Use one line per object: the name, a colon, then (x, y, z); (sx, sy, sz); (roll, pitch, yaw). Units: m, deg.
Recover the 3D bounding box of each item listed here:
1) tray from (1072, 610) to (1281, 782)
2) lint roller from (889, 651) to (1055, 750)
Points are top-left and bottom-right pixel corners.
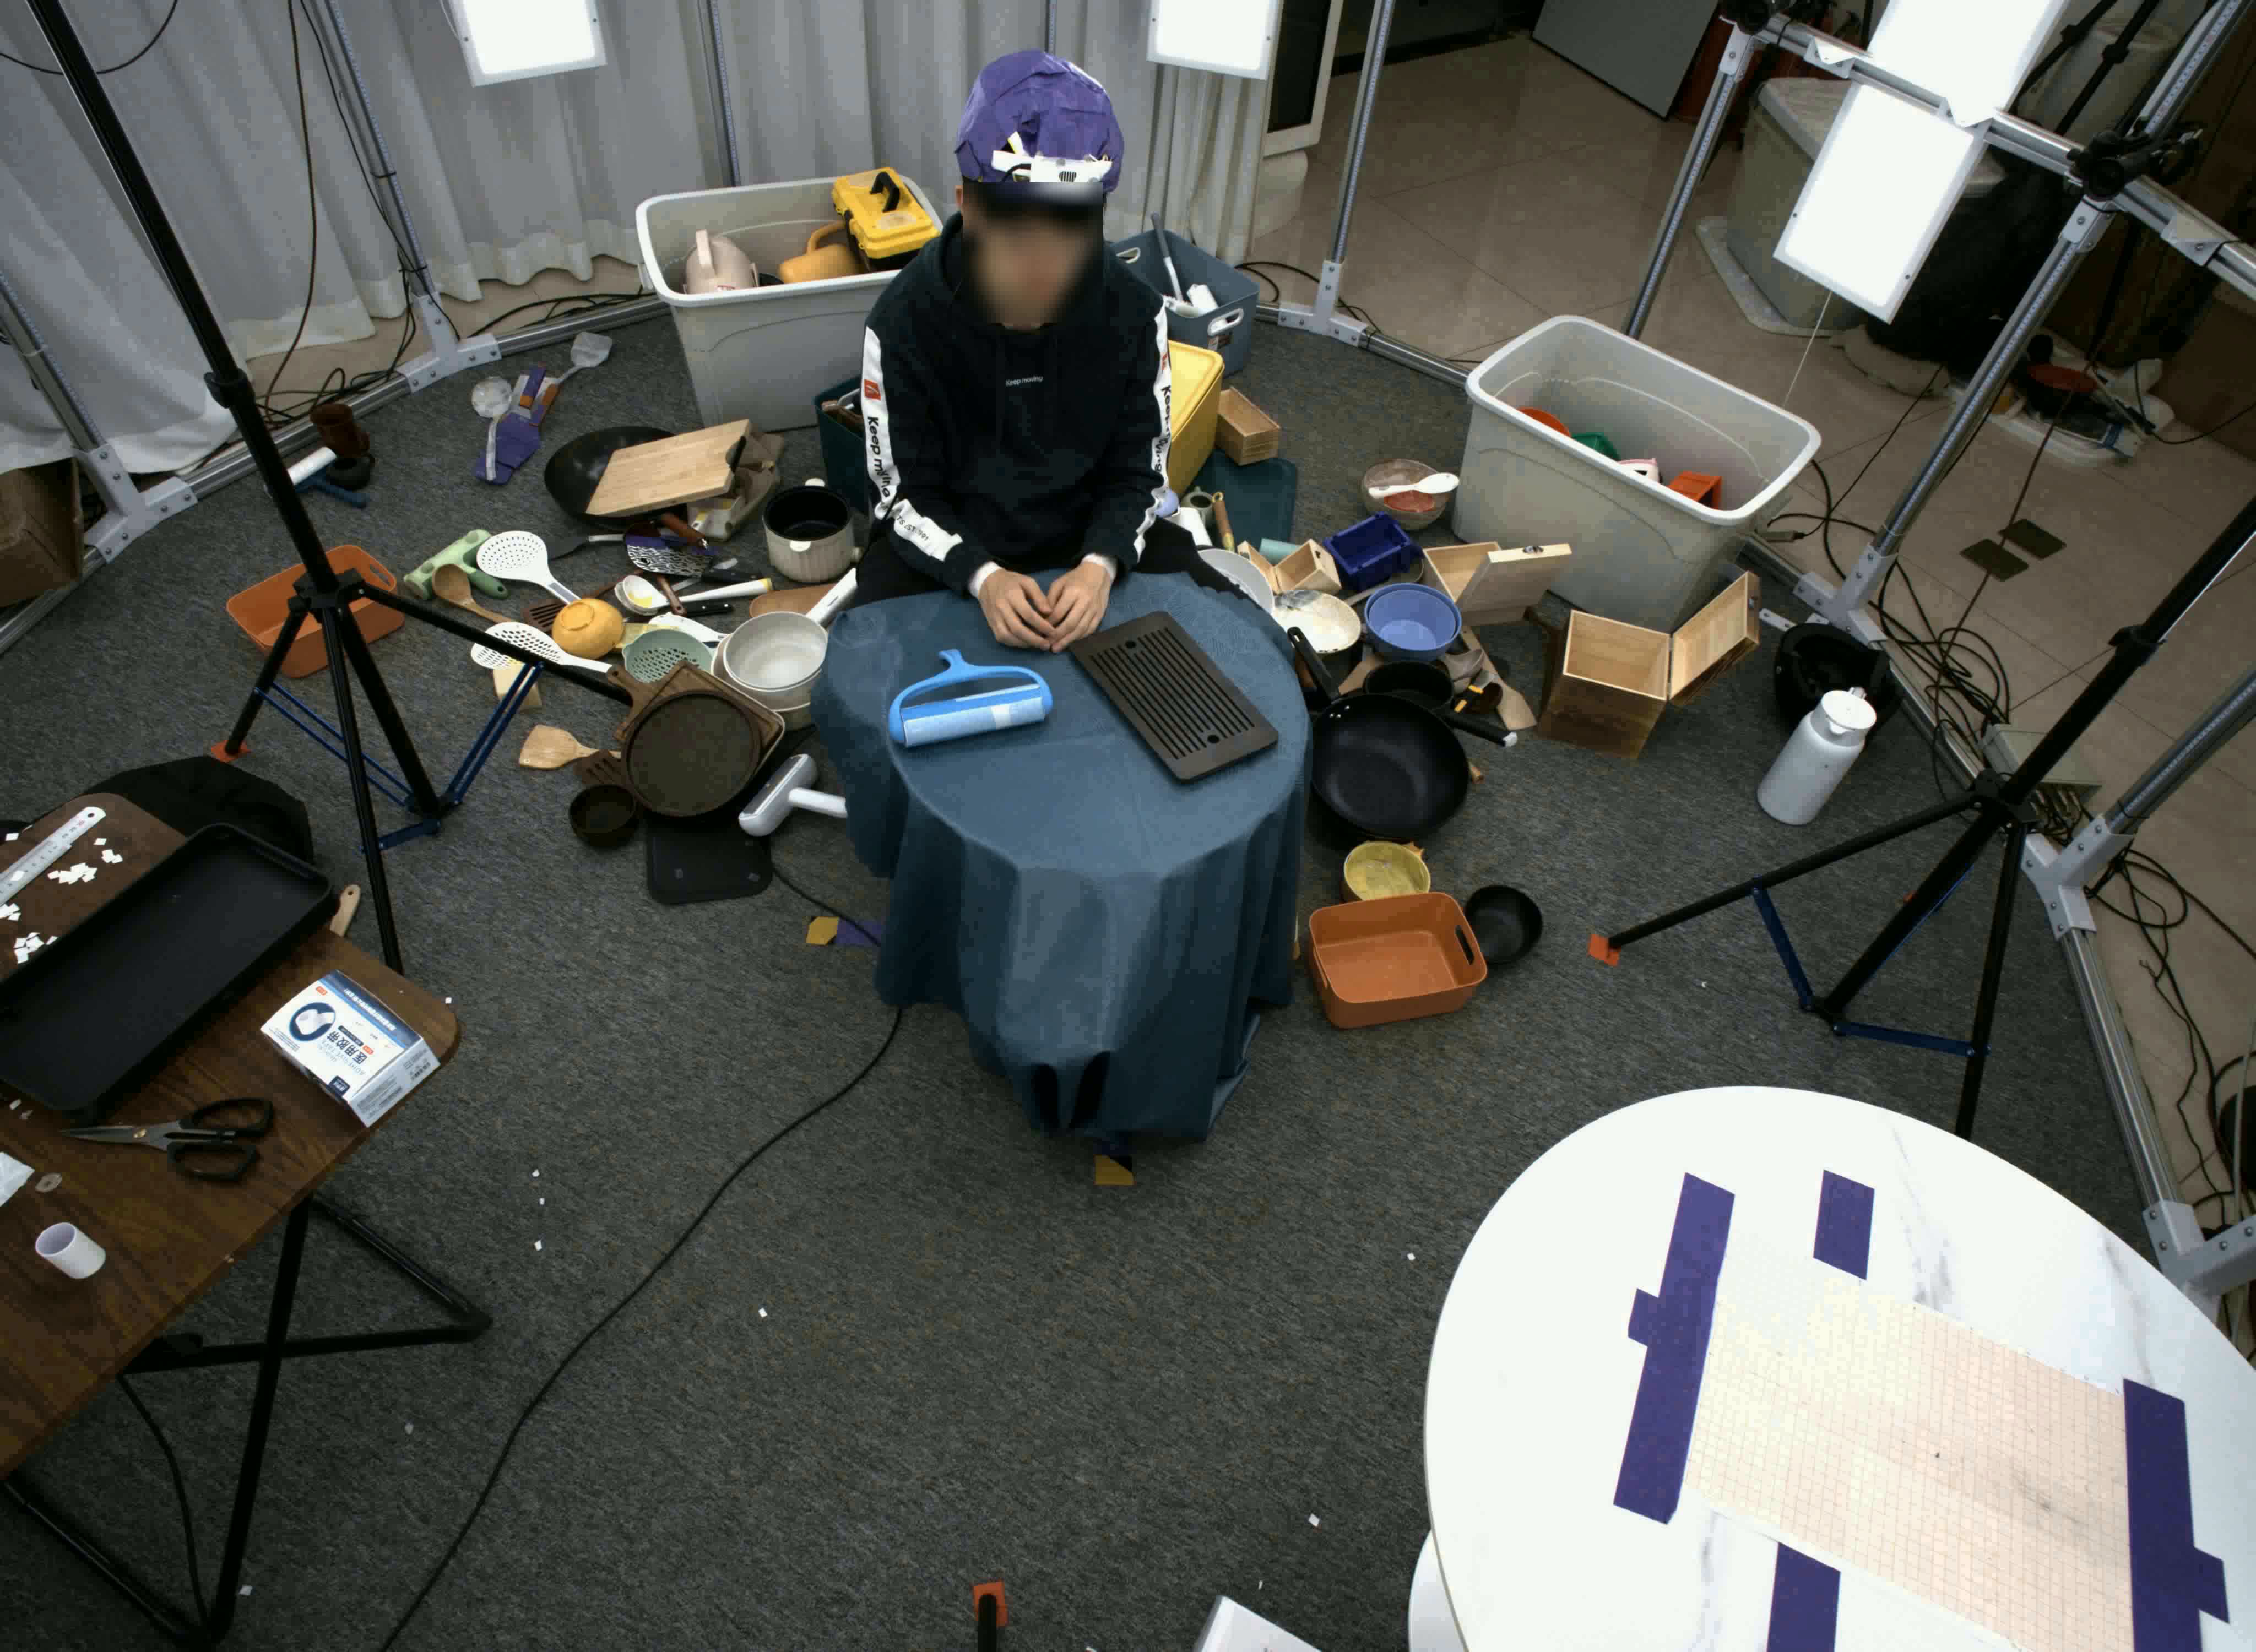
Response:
tray: (0.064, -0.189, 1.824); (0.171, 0.018, 0.312); (-24, 54, -22)
lint roller: (-0.232, -0.195, 1.785); (0.229, 0.066, 0.184); (-16, 53, -14)
